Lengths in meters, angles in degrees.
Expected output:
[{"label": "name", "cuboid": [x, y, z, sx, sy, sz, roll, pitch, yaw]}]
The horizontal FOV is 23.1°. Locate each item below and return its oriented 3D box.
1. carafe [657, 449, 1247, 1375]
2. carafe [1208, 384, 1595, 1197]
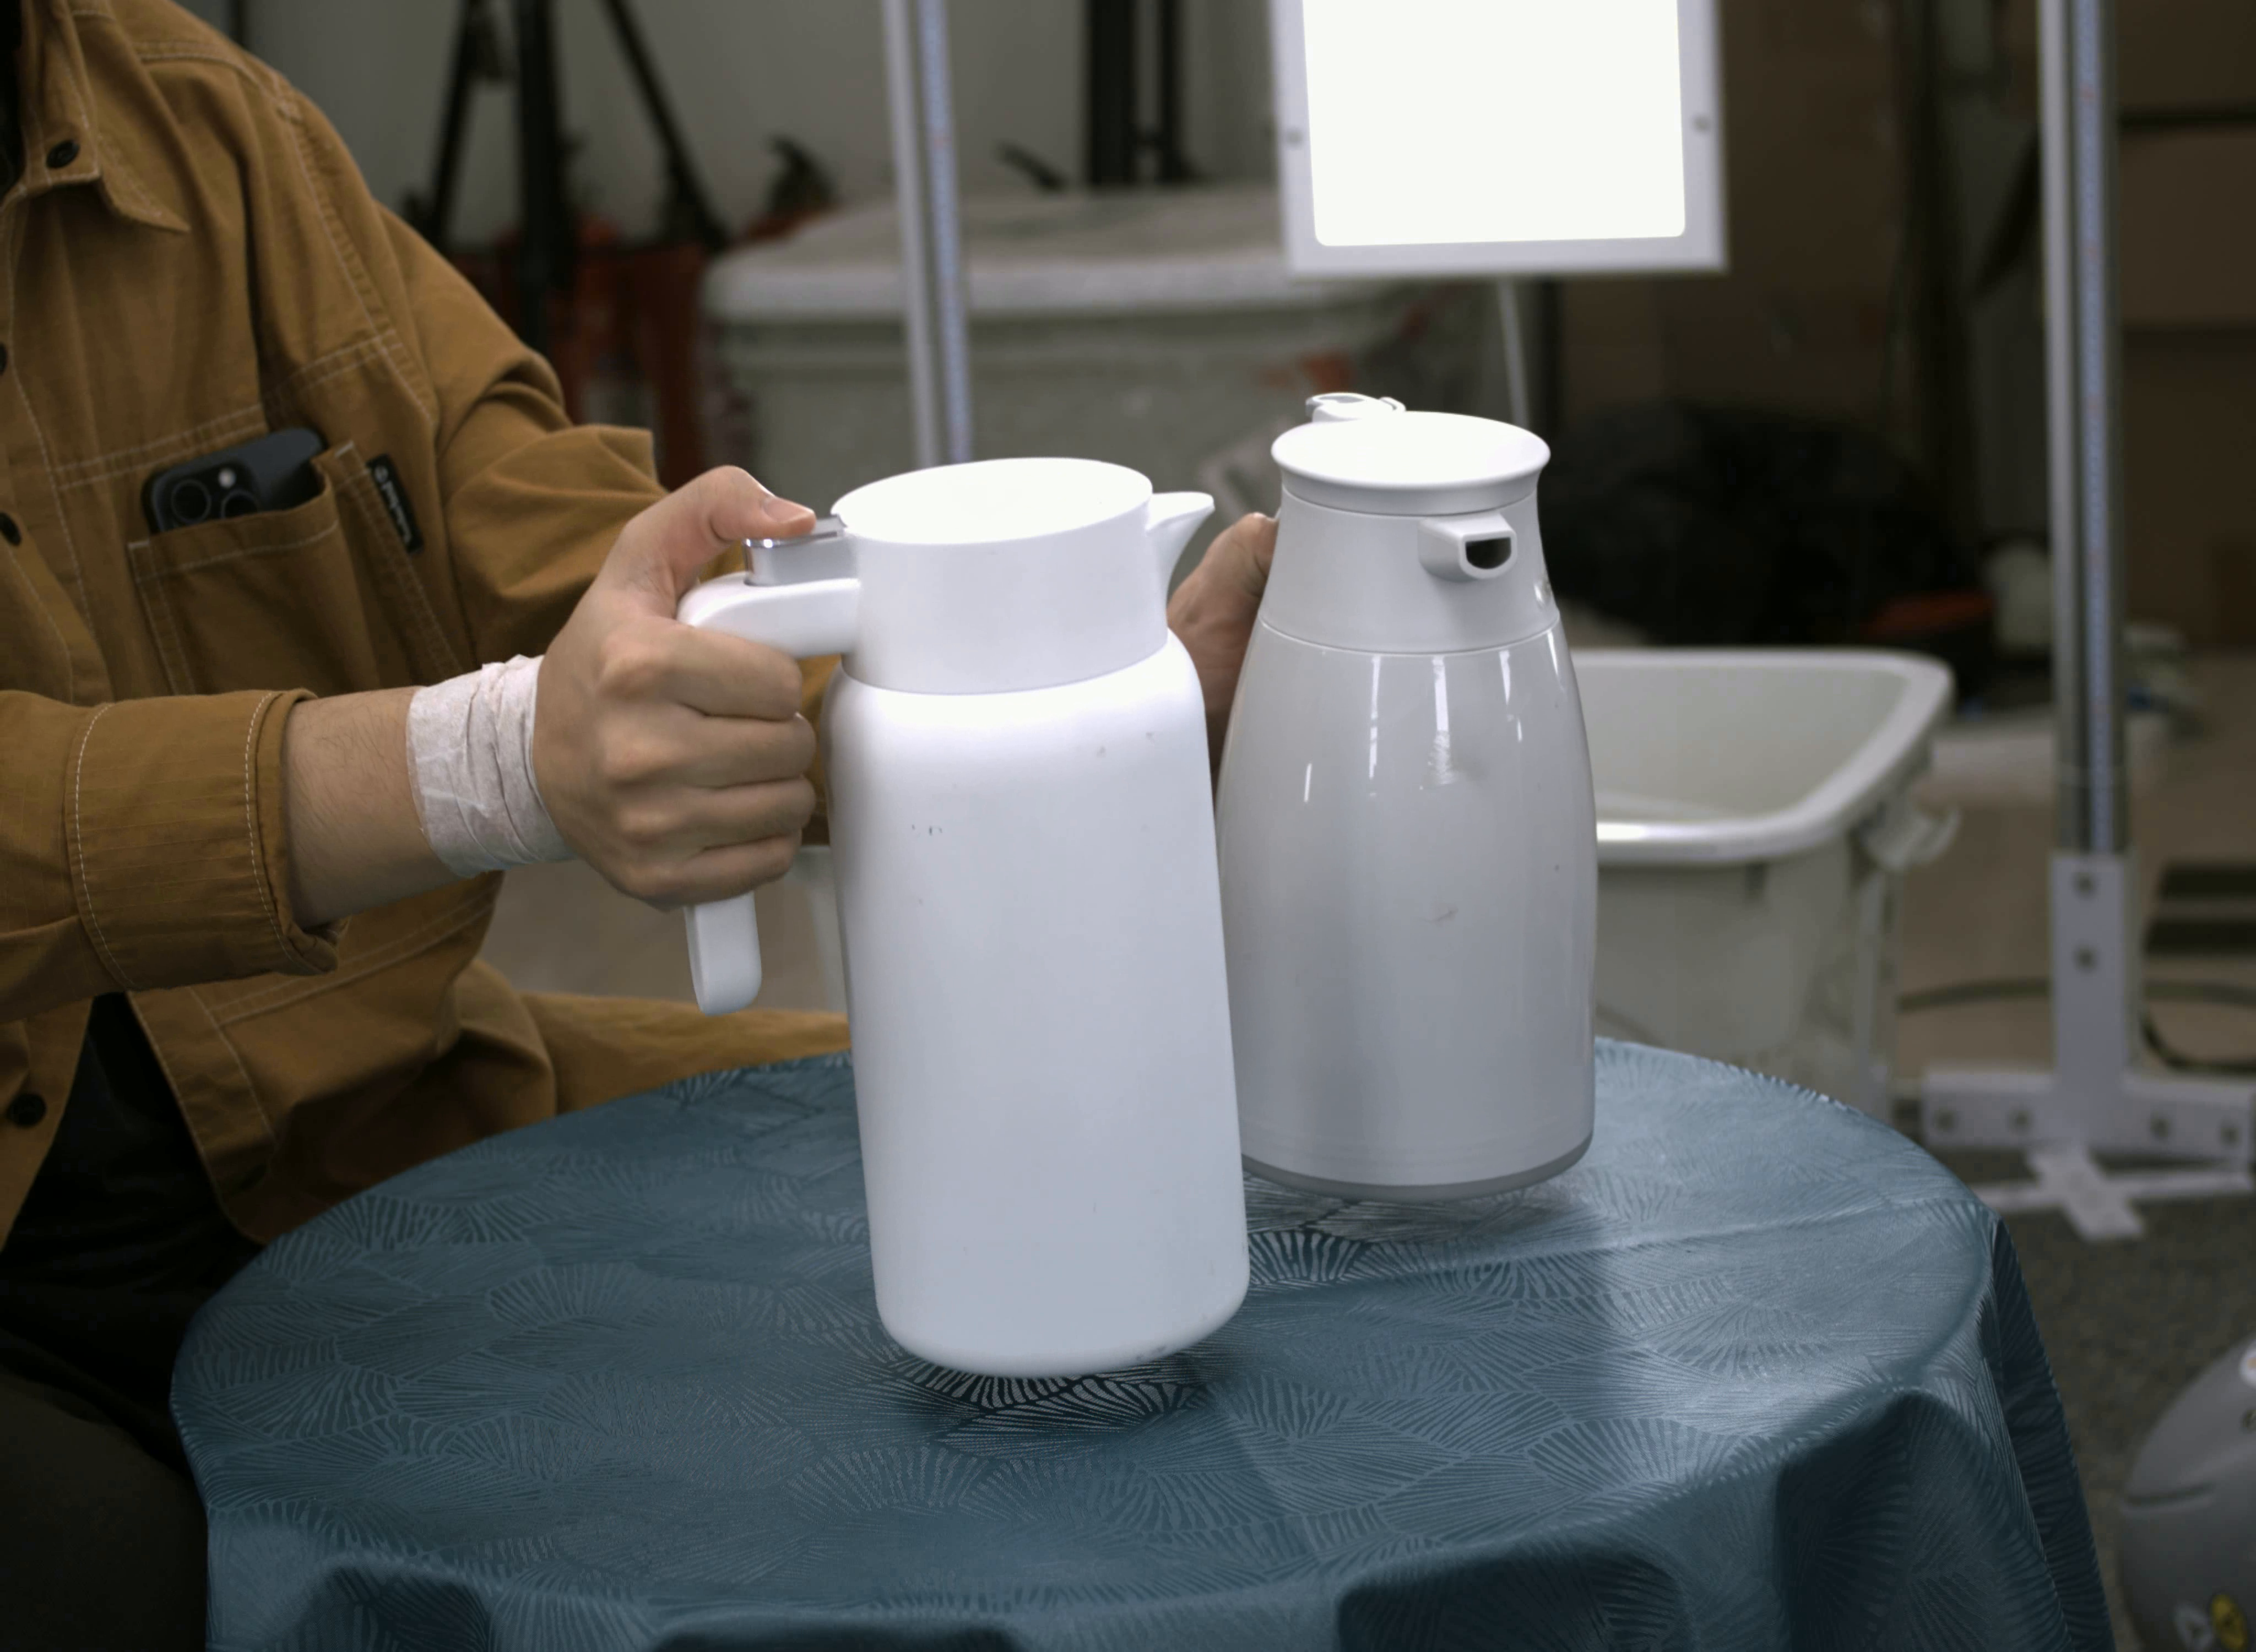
[{"label": "carafe", "cuboid": [-0.047, 0.028, 1.672, 0.171, 0.270, 0.125, -9, 20, -10]}, {"label": "carafe", "cuboid": [0.083, -0.020, 1.841, 0.130, 0.250, 0.170, -7, 19, -20]}]
